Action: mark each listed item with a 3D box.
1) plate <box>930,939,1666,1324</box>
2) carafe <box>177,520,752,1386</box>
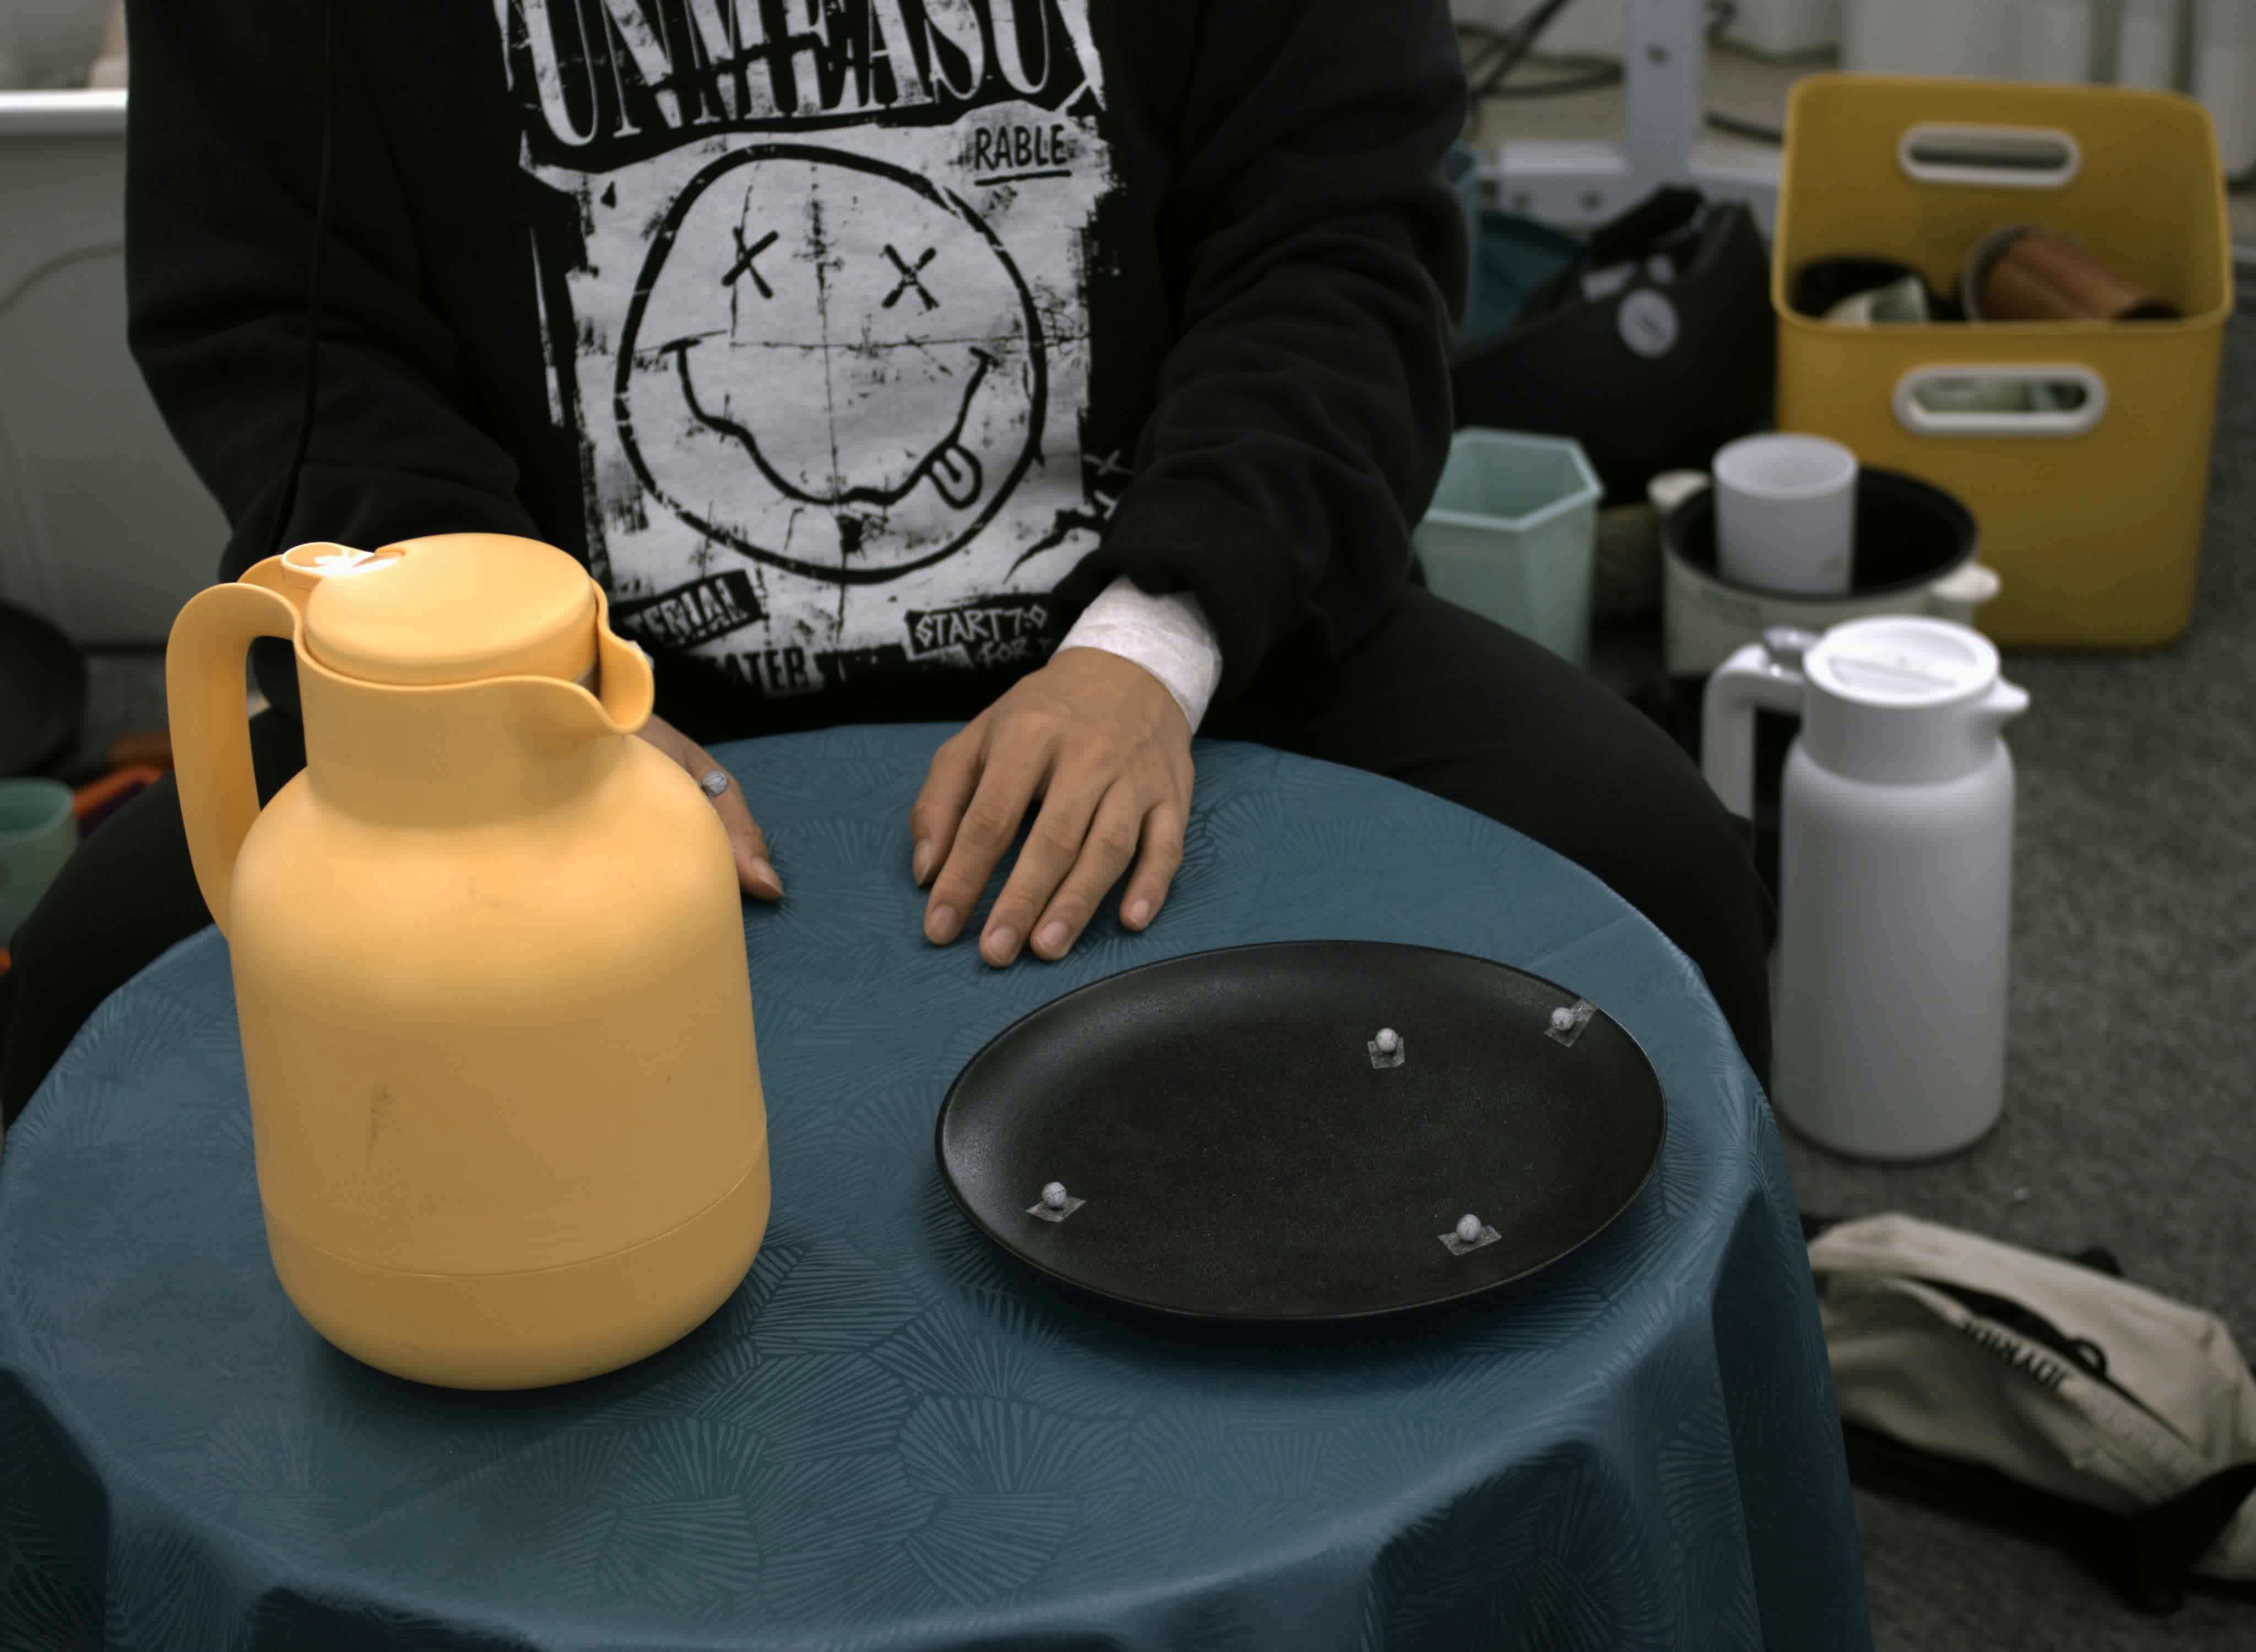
[{"bbox_3d":[0.056,0.106,1.858,0.243,0.023,0.248,-2,27,1],"label":"plate"},{"bbox_3d":[-0.216,0.030,1.775,0.202,0.258,0.165,20,31,35],"label":"carafe"}]
